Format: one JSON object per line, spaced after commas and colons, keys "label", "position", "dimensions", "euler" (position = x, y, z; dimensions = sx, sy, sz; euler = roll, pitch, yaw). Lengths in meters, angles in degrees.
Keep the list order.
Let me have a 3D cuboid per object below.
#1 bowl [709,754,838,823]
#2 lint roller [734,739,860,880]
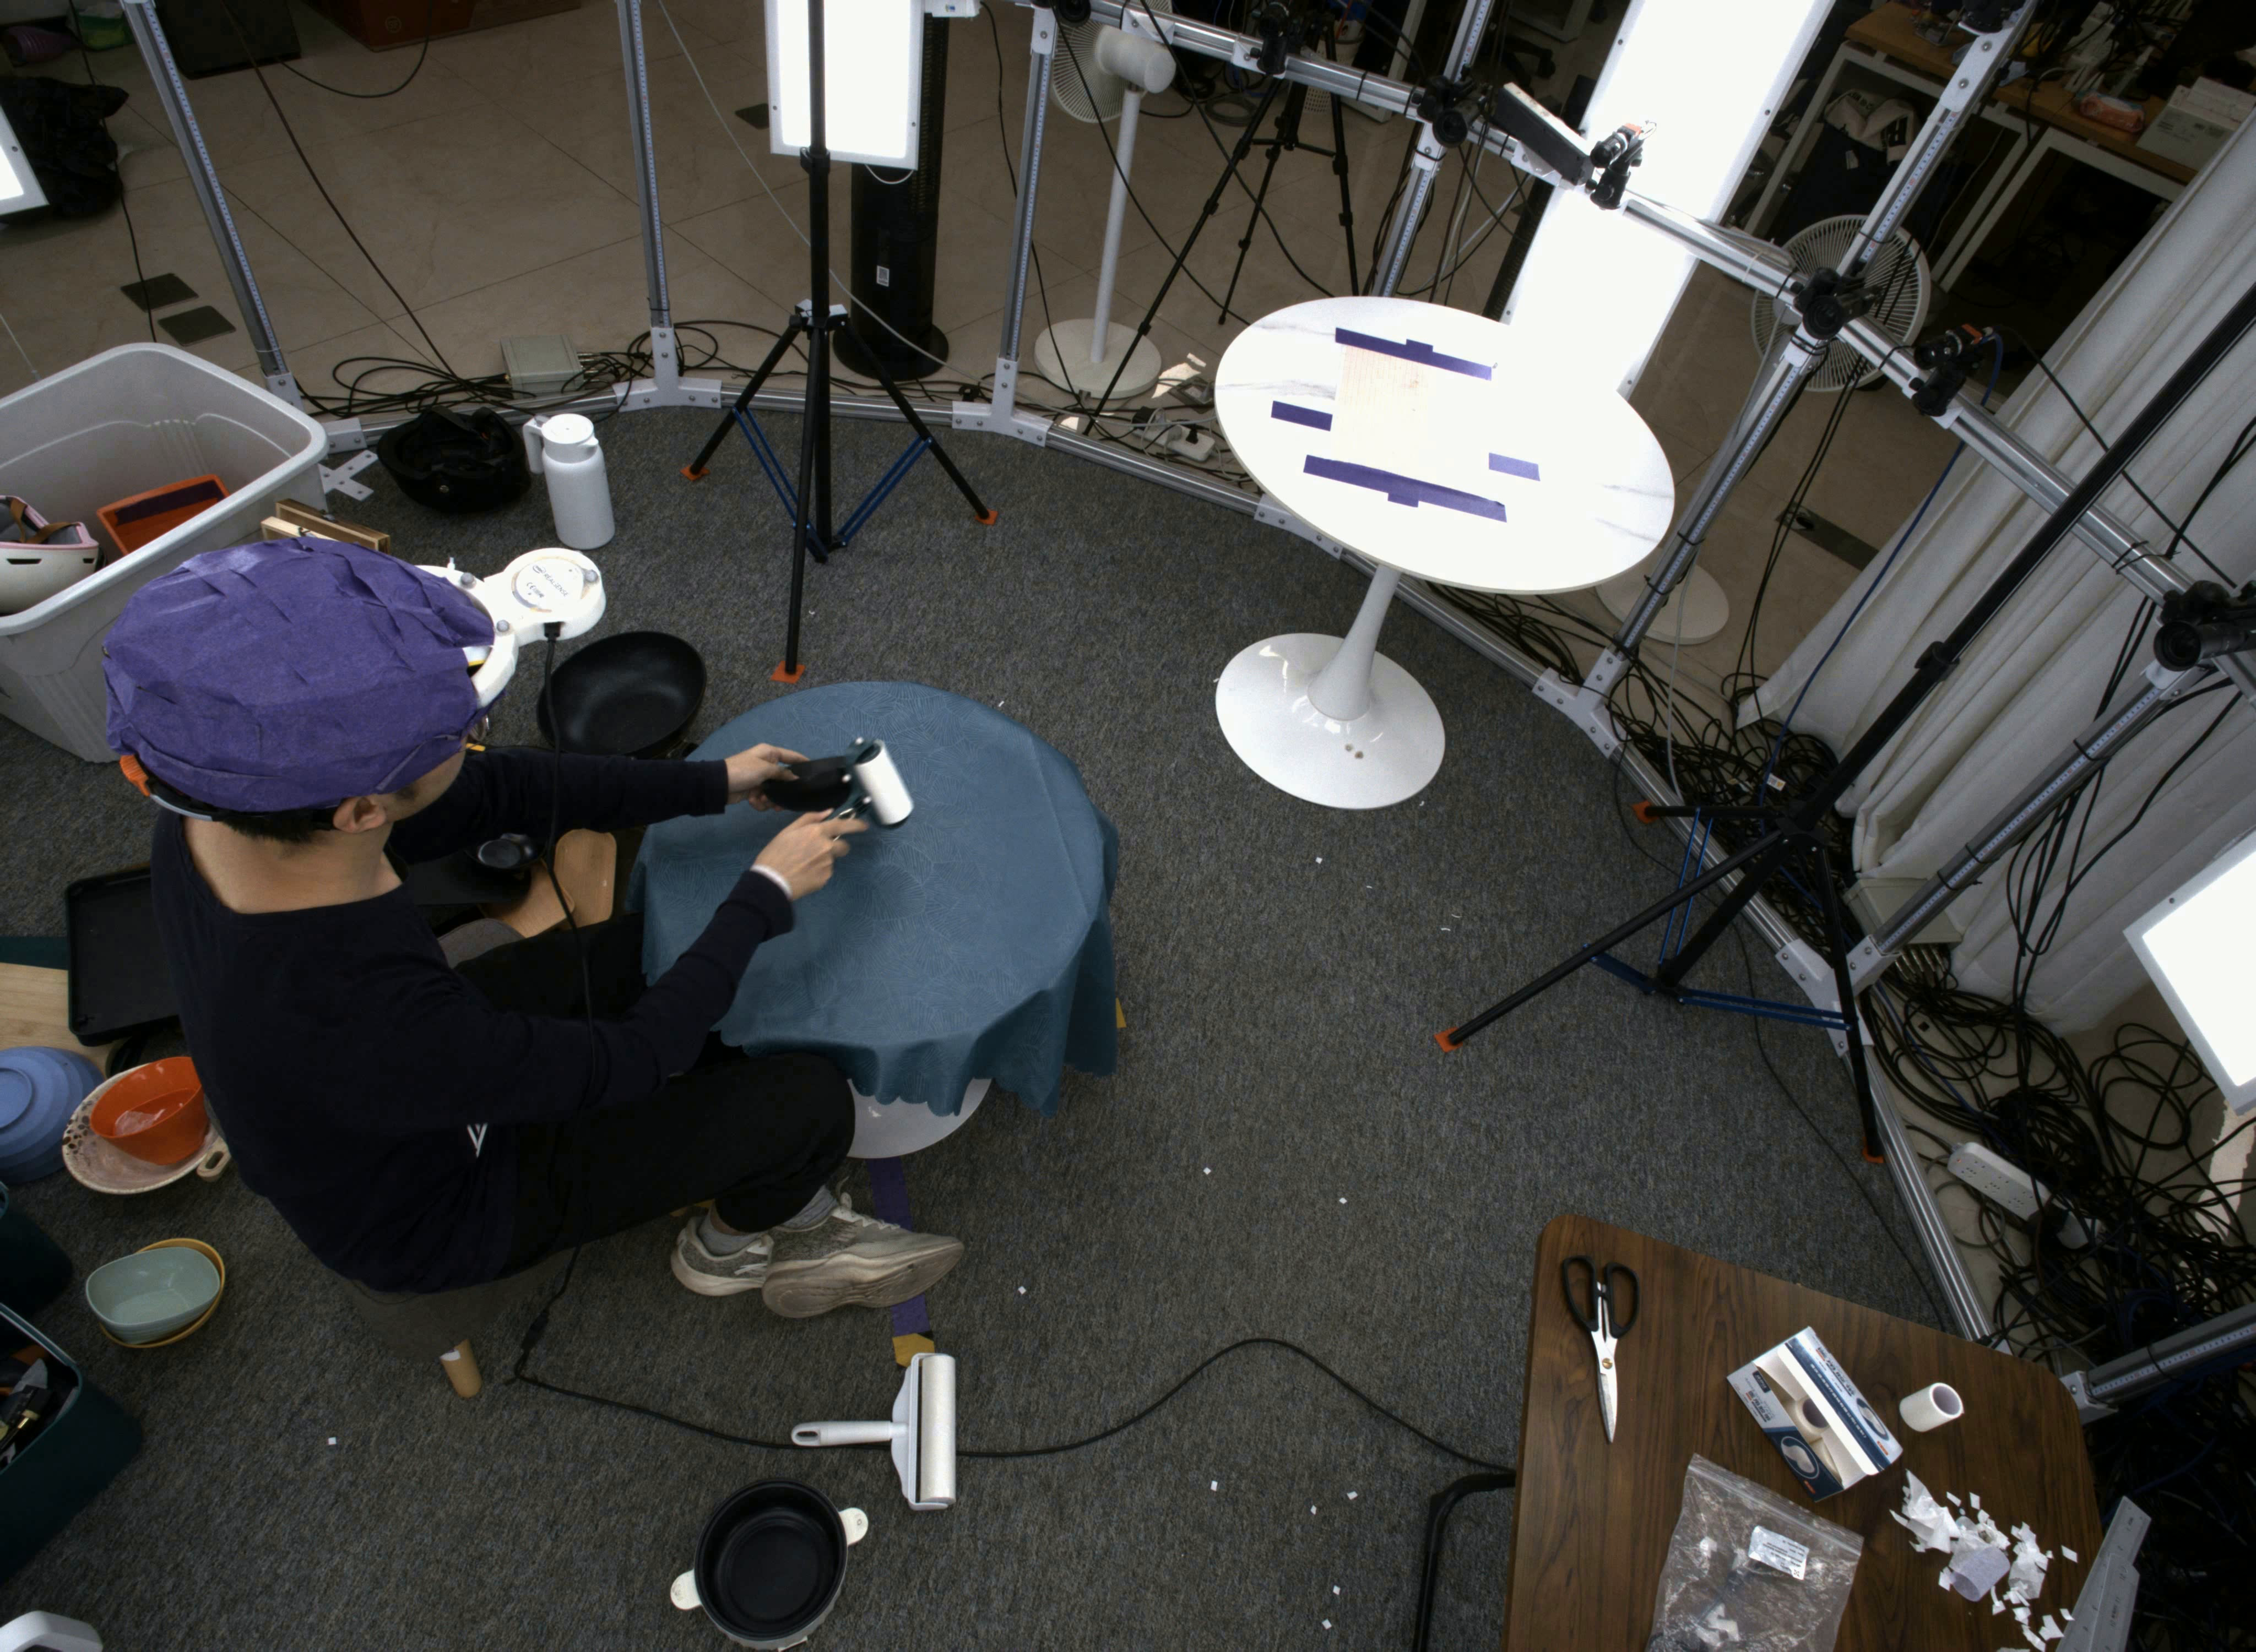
{"label": "bowl", "position": [-0.443, -0.046, 1.643], "dimensions": [0.172, 0.133, 0.068], "euler": [-21, 104, -37]}
{"label": "lint roller", "position": [-0.404, -0.001, 1.563], "dimensions": [0.046, 0.139, 0.179], "euler": [12, 52, 30]}
